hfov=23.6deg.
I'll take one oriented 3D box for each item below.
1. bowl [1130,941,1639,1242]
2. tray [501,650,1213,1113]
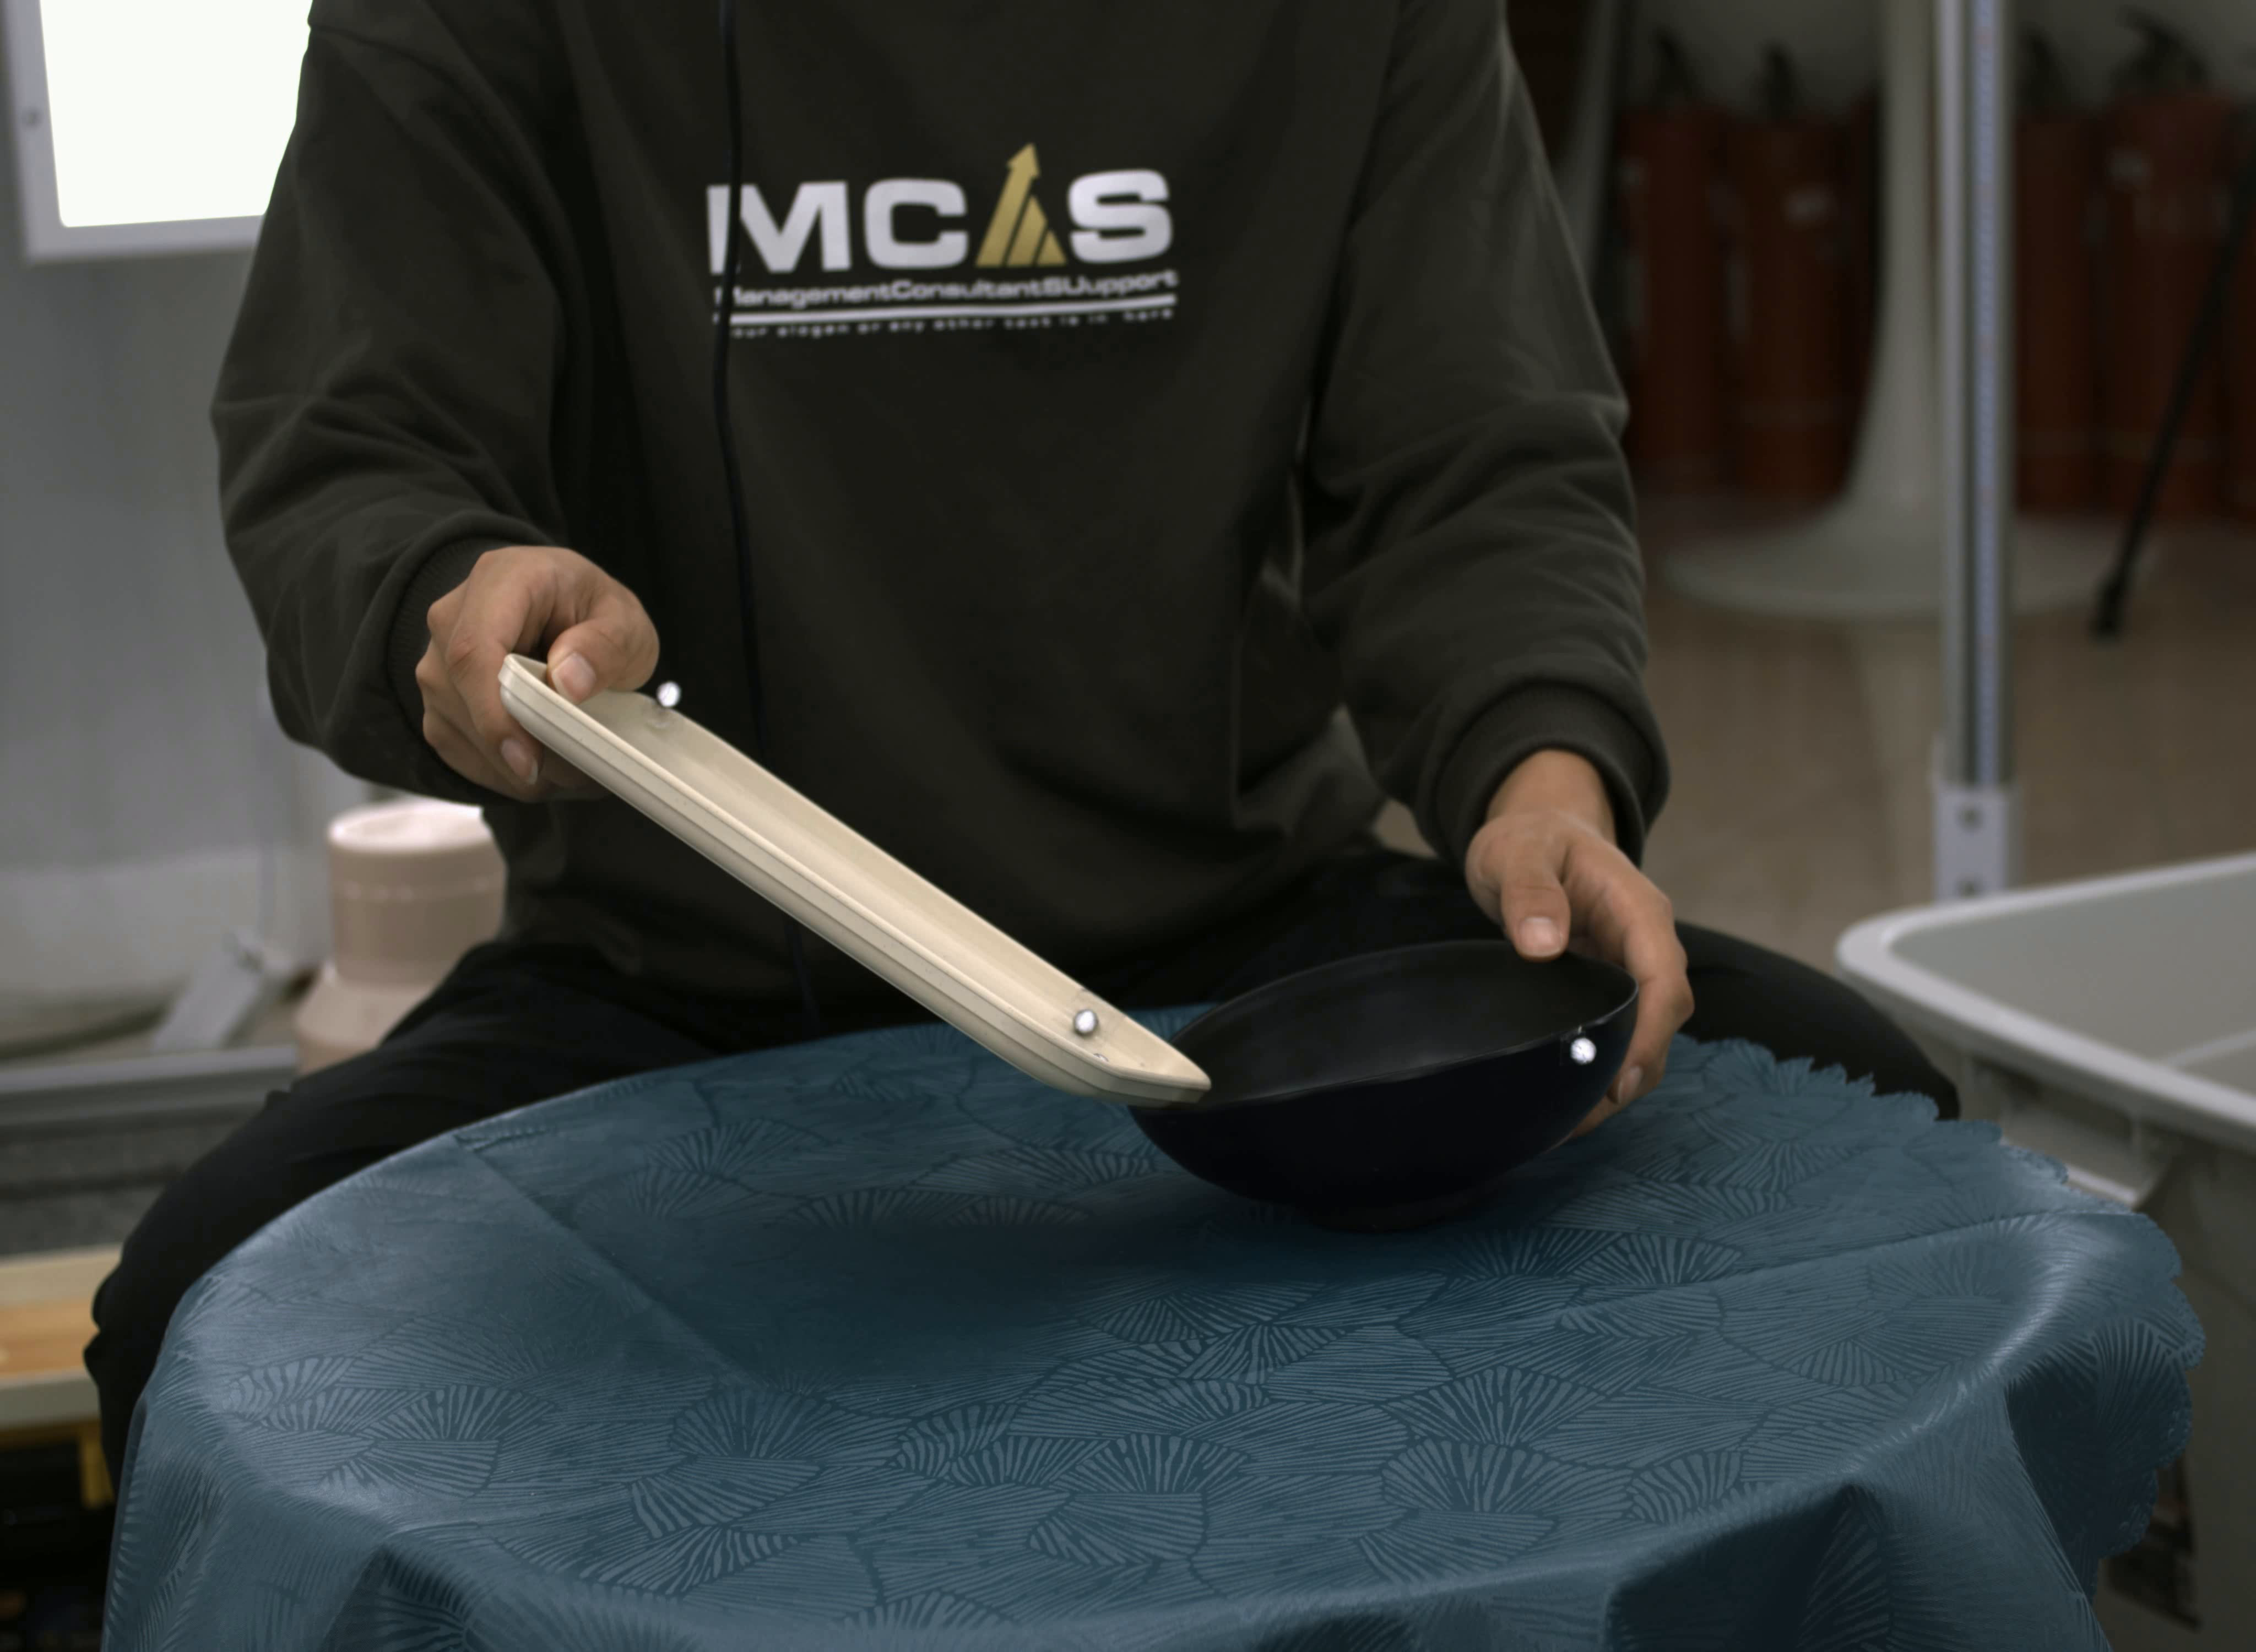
[{"bbox_3d":[0.086,0.092,1.732,0.168,0.067,0.138,-13,13,-1],"label":"bowl"},{"bbox_3d":[-0.086,0.021,1.700,0.240,0.017,0.169,34,4,17],"label":"tray"}]
